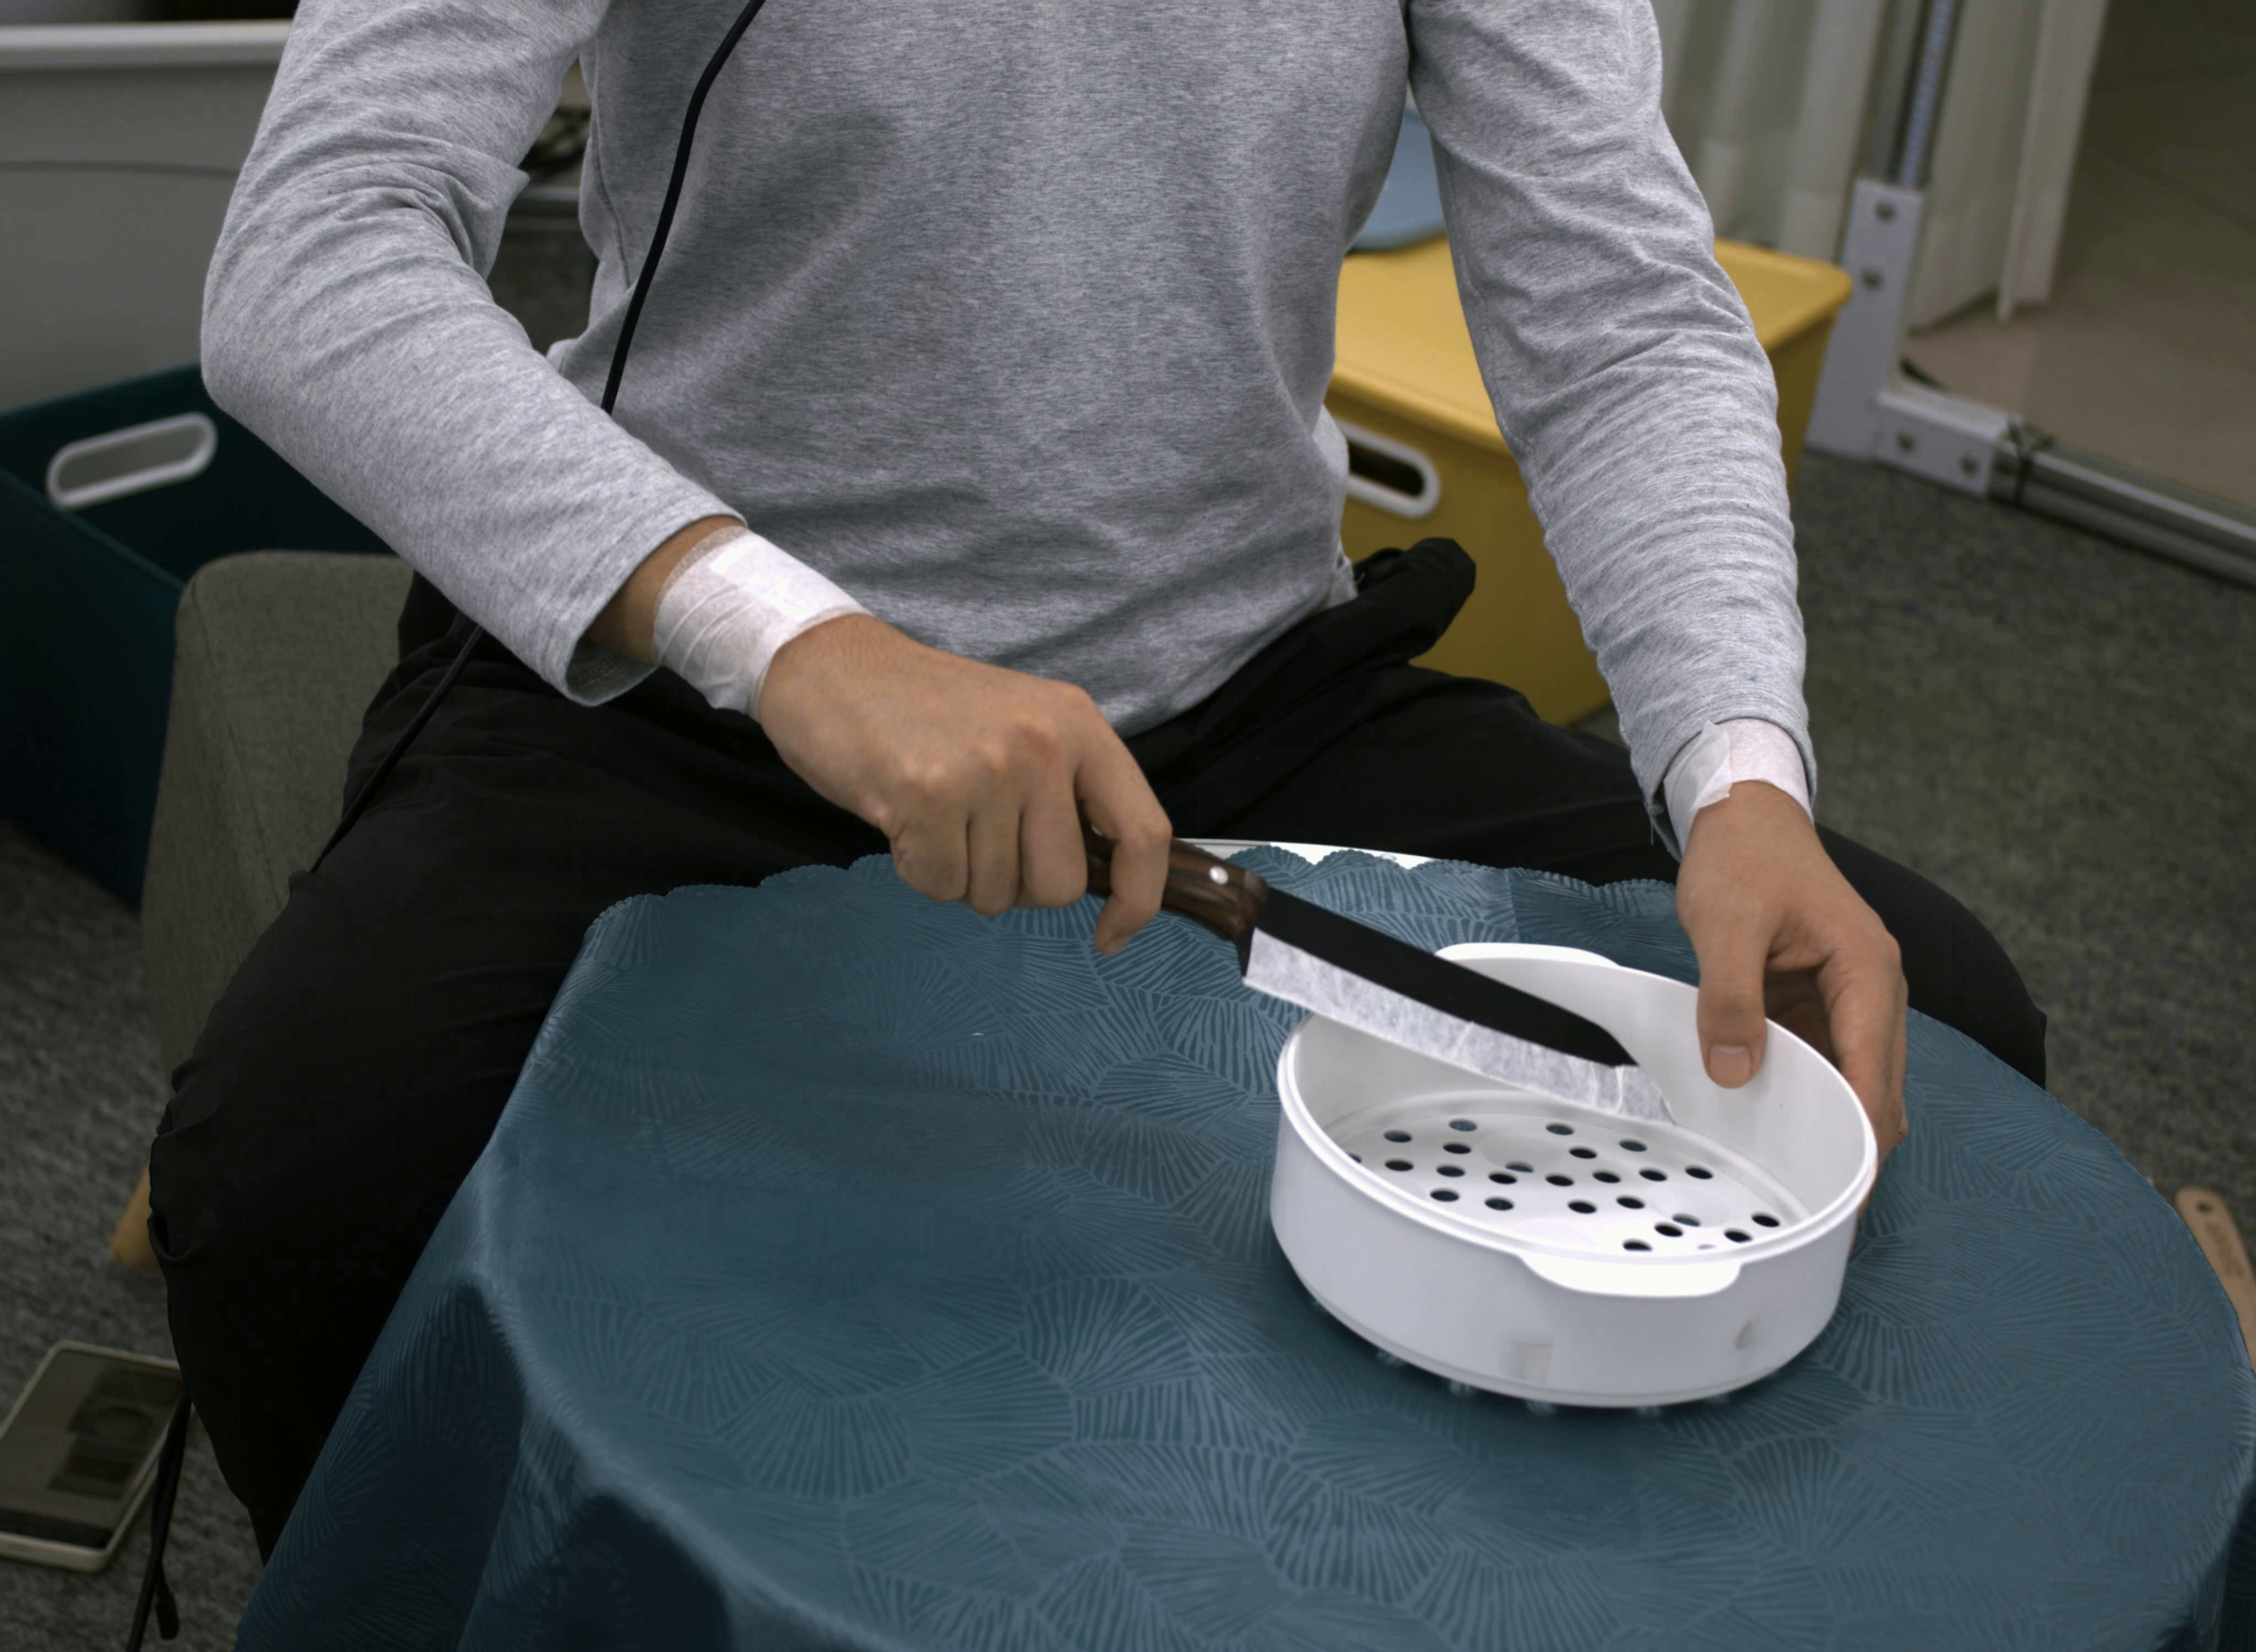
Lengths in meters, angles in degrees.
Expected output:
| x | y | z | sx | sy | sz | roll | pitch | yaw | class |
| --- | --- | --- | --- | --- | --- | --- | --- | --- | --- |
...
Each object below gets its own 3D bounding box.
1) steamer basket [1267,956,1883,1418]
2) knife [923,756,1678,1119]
| x | y | z | sx | sy | sz | roll | pitch | yaw | class |
| --- | --- | --- | --- | --- | --- | --- | --- | --- | --- |
| 0.146 | 0.121 | 1.770 | 0.201 | 0.069 | 0.232 | 3 | 26 | -7 | steamer basket |
| 0.061 | 0.040 | 1.787 | 0.287 | 0.020 | 0.050 | 24 | 50 | -13 | knife |
